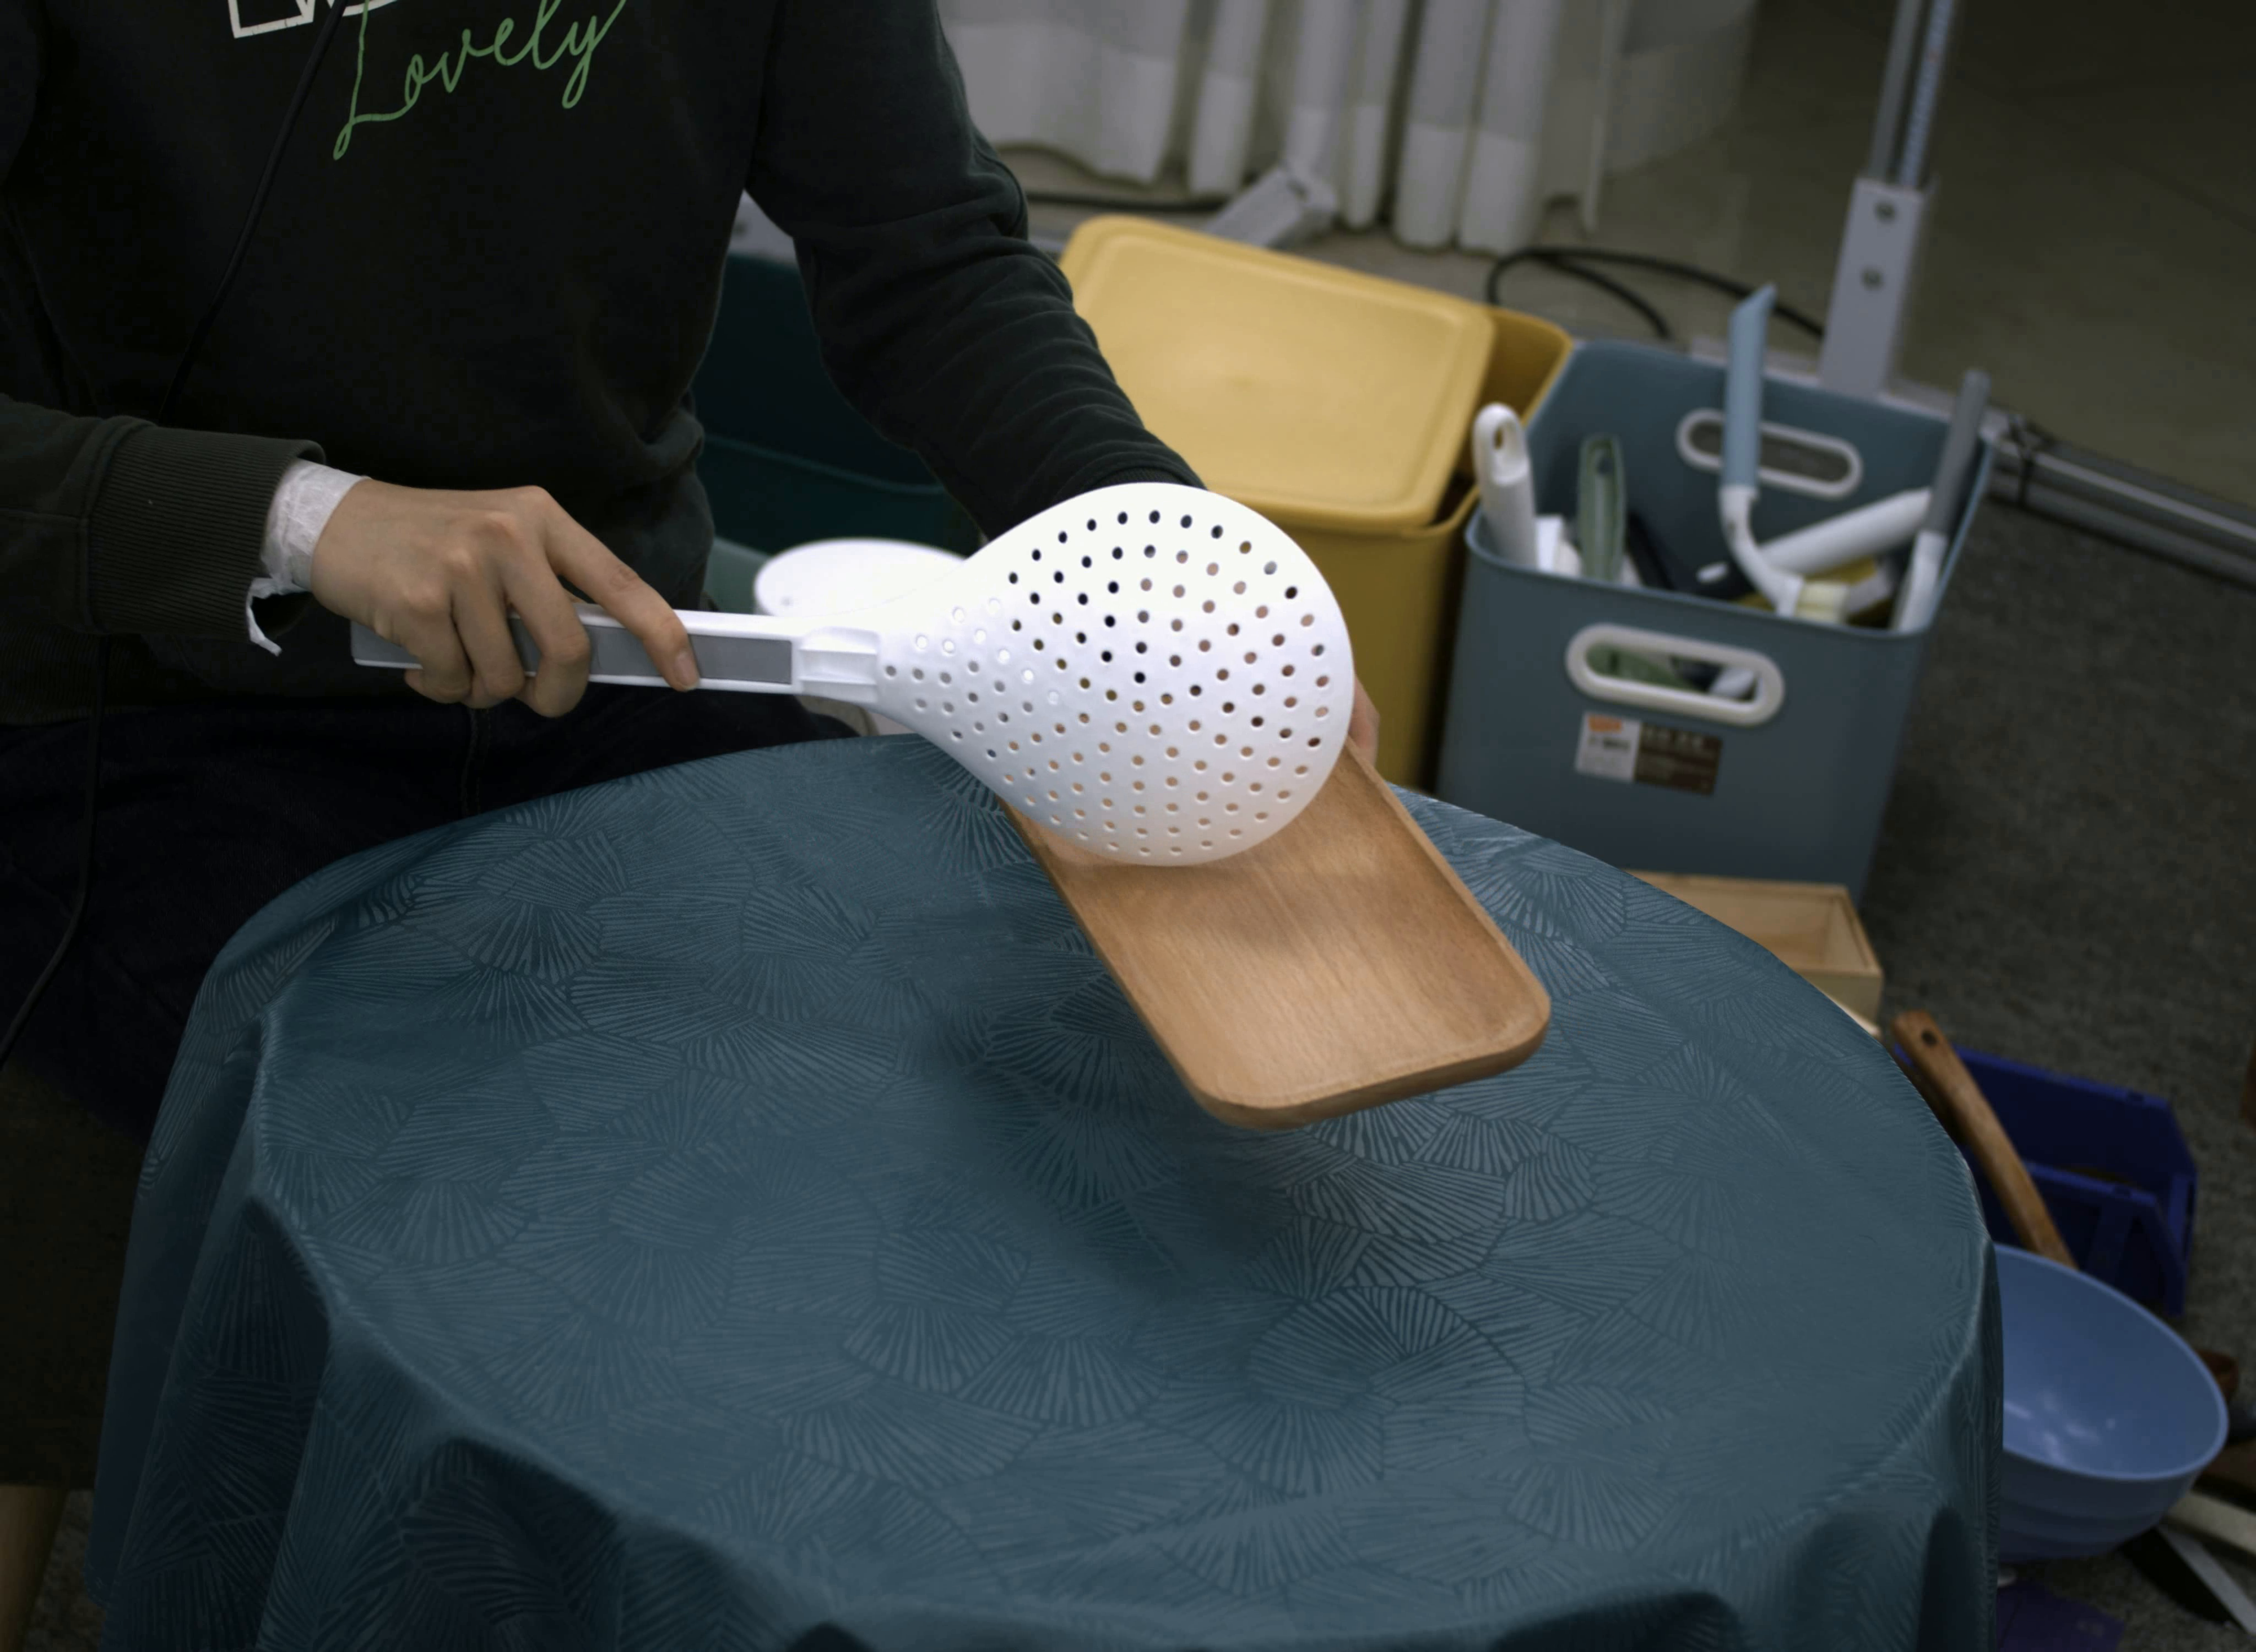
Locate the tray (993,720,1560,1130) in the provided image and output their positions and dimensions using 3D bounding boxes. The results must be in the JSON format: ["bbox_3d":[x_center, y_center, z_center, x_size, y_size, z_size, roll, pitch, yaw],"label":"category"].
[{"bbox_3d":[0.047,0.024,1.824,0.130,0.023,0.253,-12,33,-16],"label":"tray"}]

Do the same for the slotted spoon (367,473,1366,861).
[{"bbox_3d":[-0.094,-0.056,1.832,0.350,0.136,0.046,4,15,14],"label":"slotted spoon"}]
